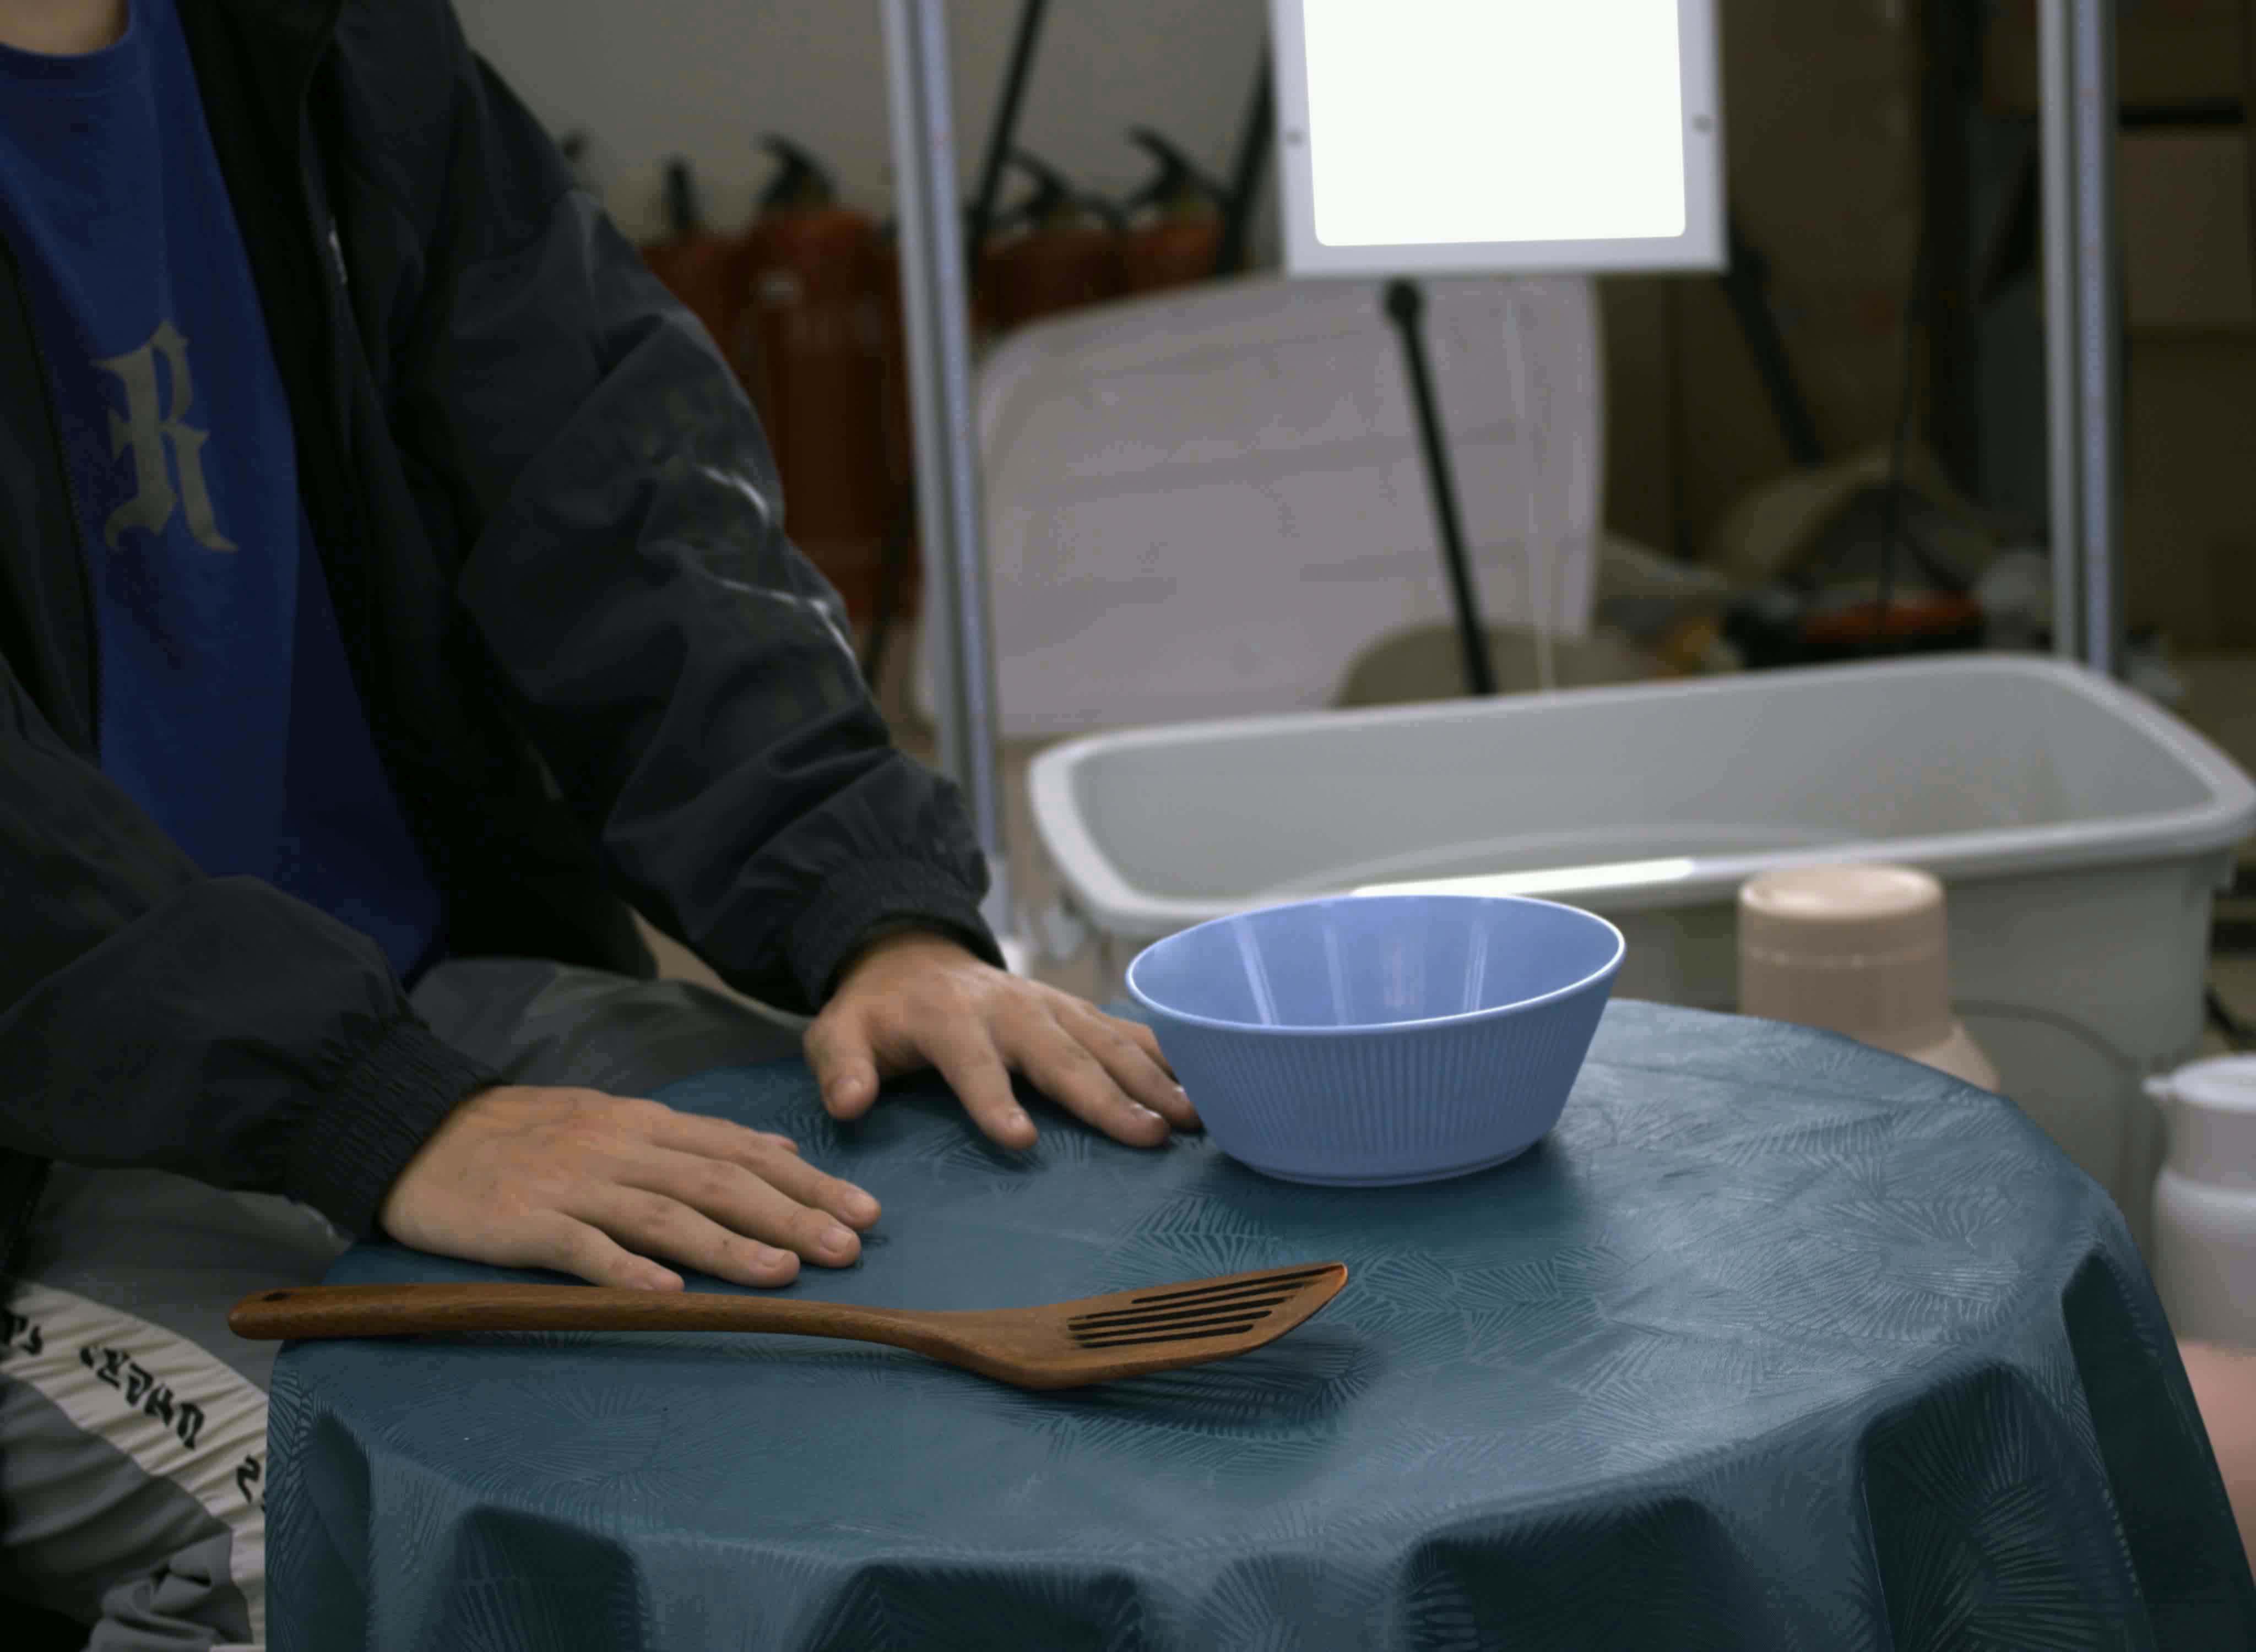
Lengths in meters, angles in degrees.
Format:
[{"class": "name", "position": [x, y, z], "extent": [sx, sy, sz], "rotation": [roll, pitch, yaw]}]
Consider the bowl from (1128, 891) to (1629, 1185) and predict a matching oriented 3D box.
[{"class": "bowl", "position": [0.090, 0.076, 1.920], "extent": [0.175, 0.070, 0.176], "rotation": [-6, 13, 0]}]

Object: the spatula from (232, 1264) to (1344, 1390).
[{"class": "spatula", "position": [-0.117, 0.159, 1.767], "extent": [0.392, 0.024, 0.084], "rotation": [-1, 14, 23]}]
